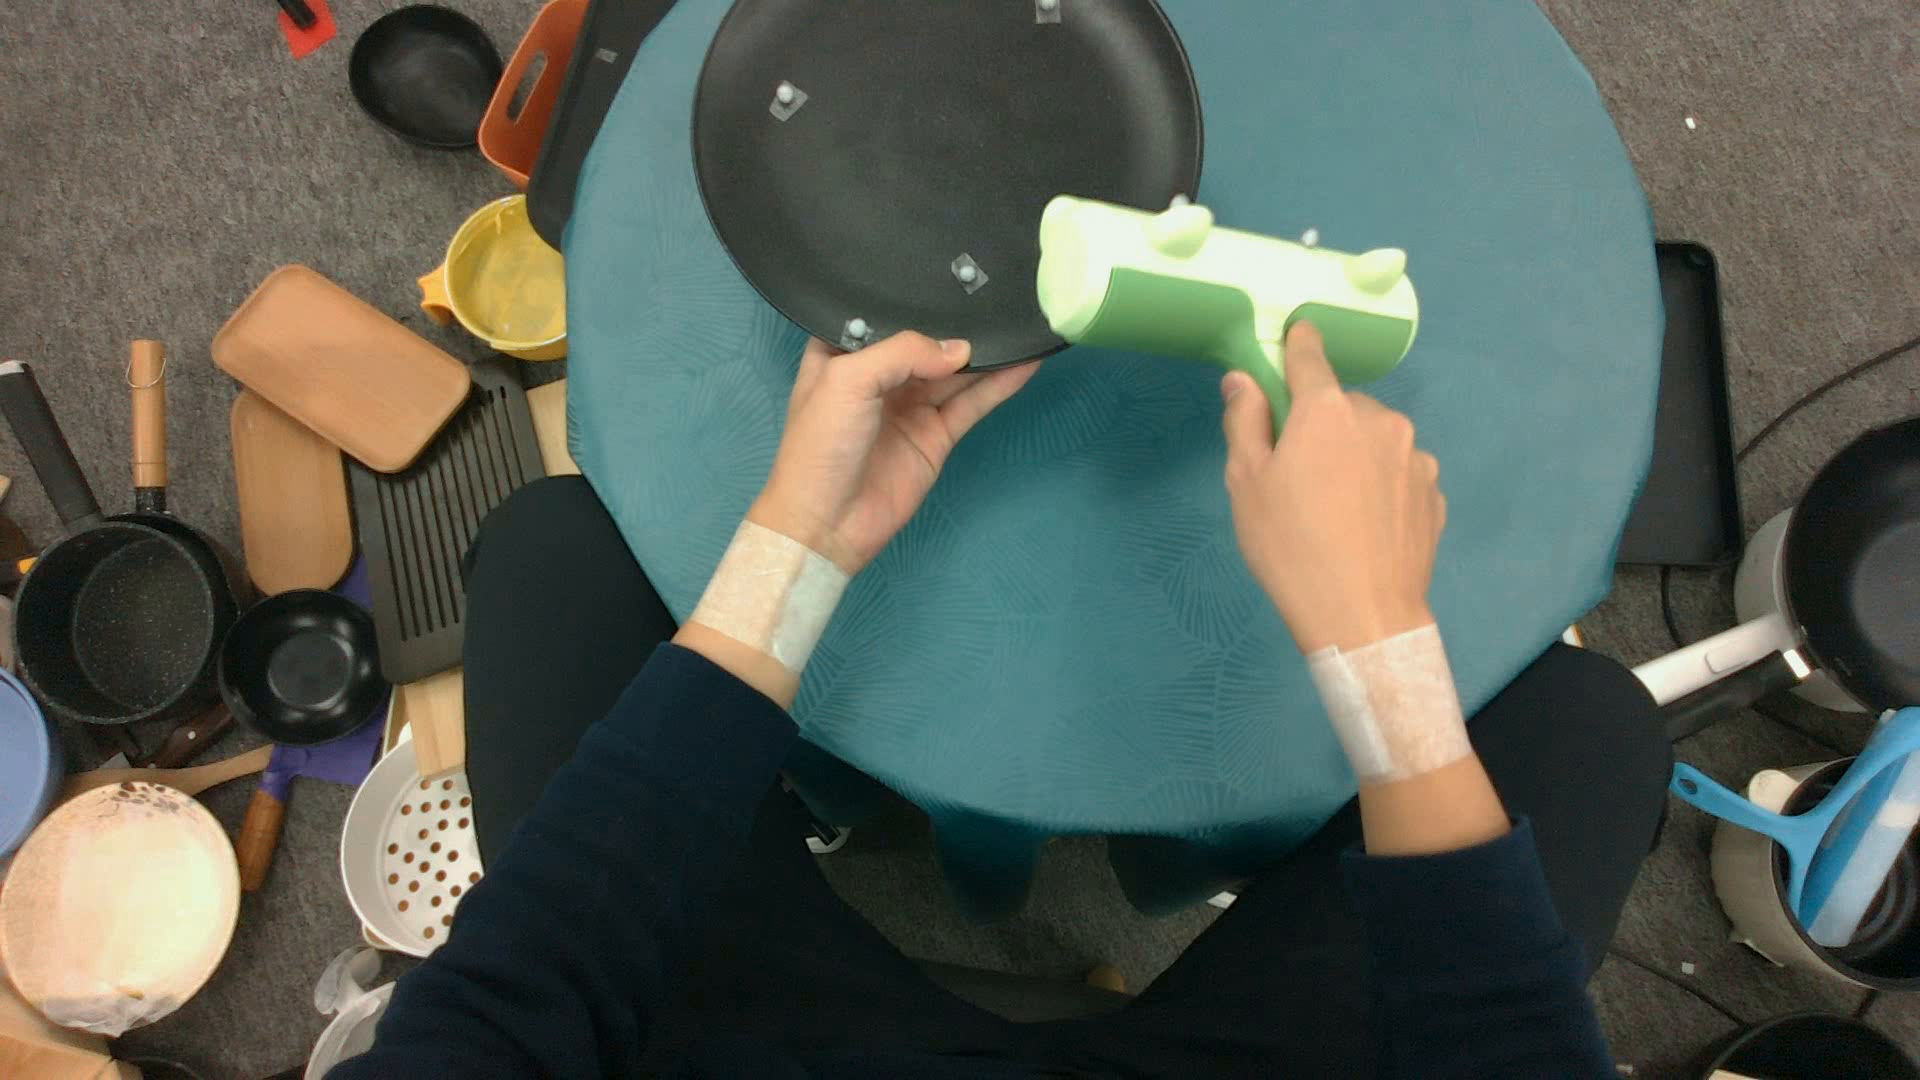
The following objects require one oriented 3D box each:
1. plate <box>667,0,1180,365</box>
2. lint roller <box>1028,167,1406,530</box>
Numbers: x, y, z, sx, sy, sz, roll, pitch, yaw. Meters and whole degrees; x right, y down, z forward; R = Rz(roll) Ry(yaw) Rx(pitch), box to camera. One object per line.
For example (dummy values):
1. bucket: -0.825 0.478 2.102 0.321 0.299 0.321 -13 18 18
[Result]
1. plate: -0.017 -0.197 0.662 0.244 0.023 0.245 0 78 -2
2. lint roller: 0.143 -0.093 0.597 0.199 0.082 0.184 1 45 -31
